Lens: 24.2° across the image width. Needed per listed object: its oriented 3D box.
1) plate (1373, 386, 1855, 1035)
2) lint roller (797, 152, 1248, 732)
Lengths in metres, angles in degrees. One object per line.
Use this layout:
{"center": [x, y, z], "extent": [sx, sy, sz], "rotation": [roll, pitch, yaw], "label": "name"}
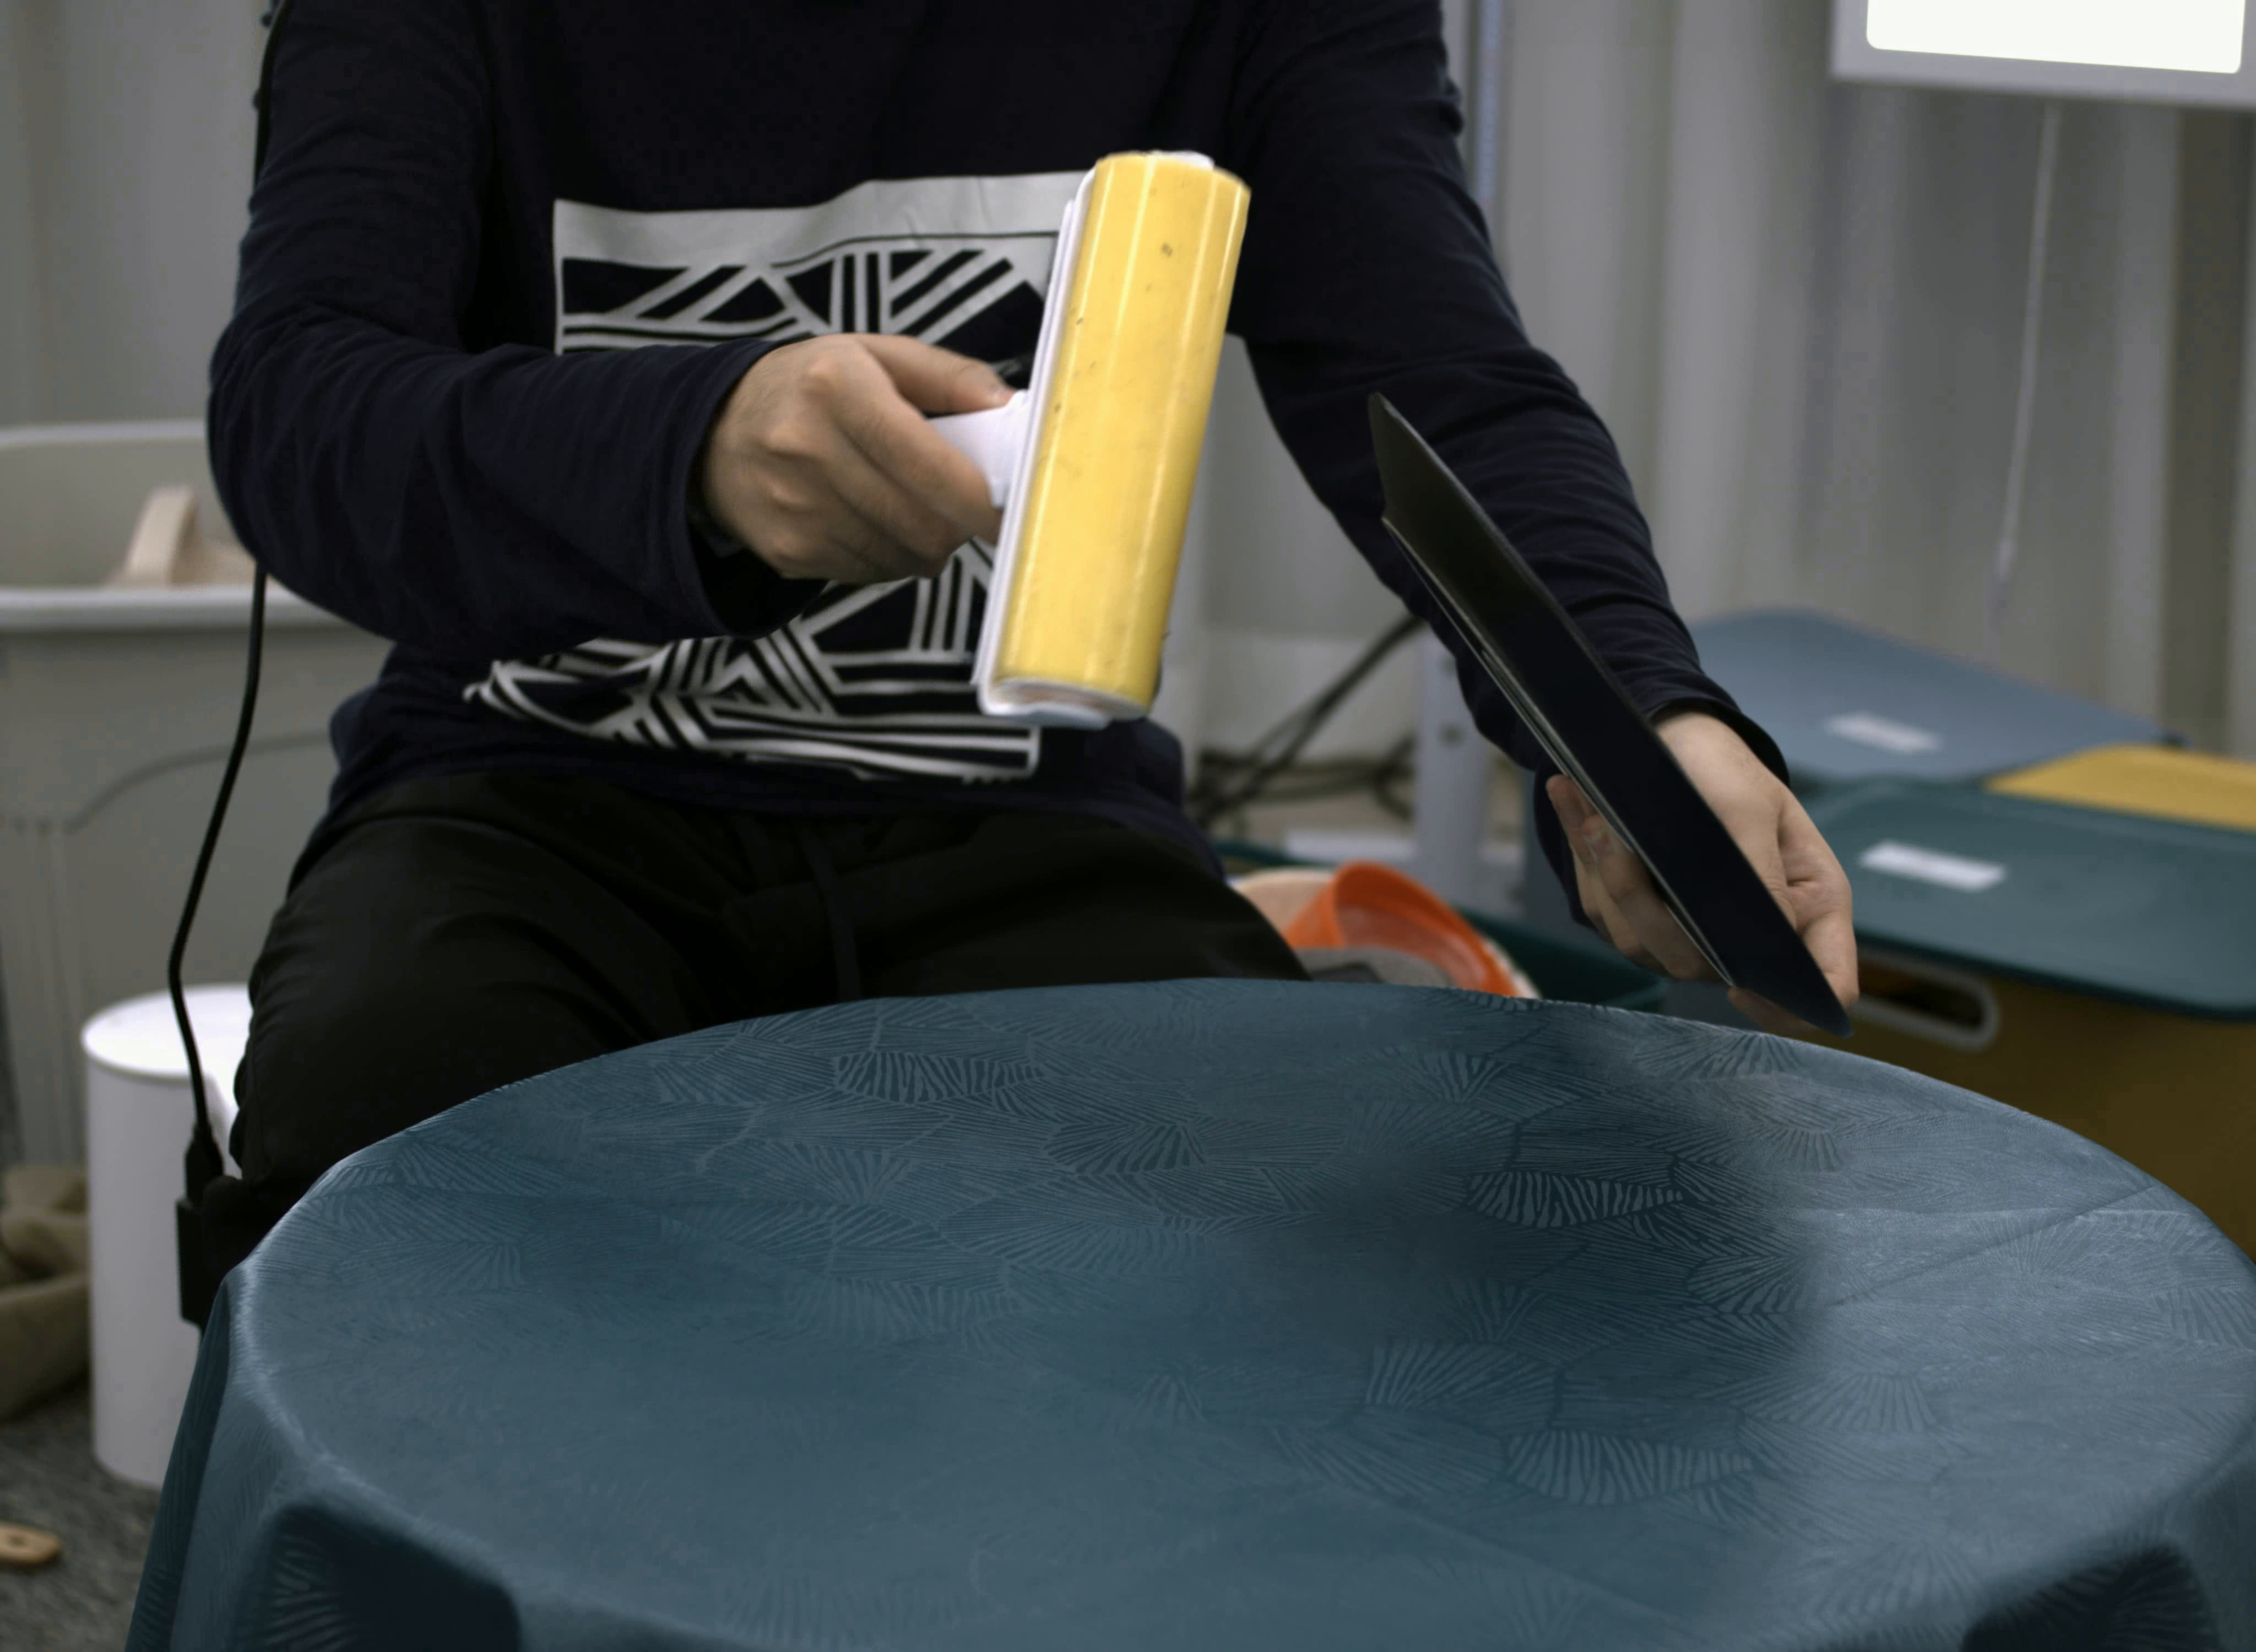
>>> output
{"center": [0.140, -0.030, 1.599], "extent": [0.023, 0.246, 0.242], "rotation": [-36, 18, 3], "label": "plate"}
{"center": [-0.051, -0.112, 1.602], "extent": [0.190, 0.174, 0.052], "rotation": [-1, -16, 46], "label": "lint roller"}
